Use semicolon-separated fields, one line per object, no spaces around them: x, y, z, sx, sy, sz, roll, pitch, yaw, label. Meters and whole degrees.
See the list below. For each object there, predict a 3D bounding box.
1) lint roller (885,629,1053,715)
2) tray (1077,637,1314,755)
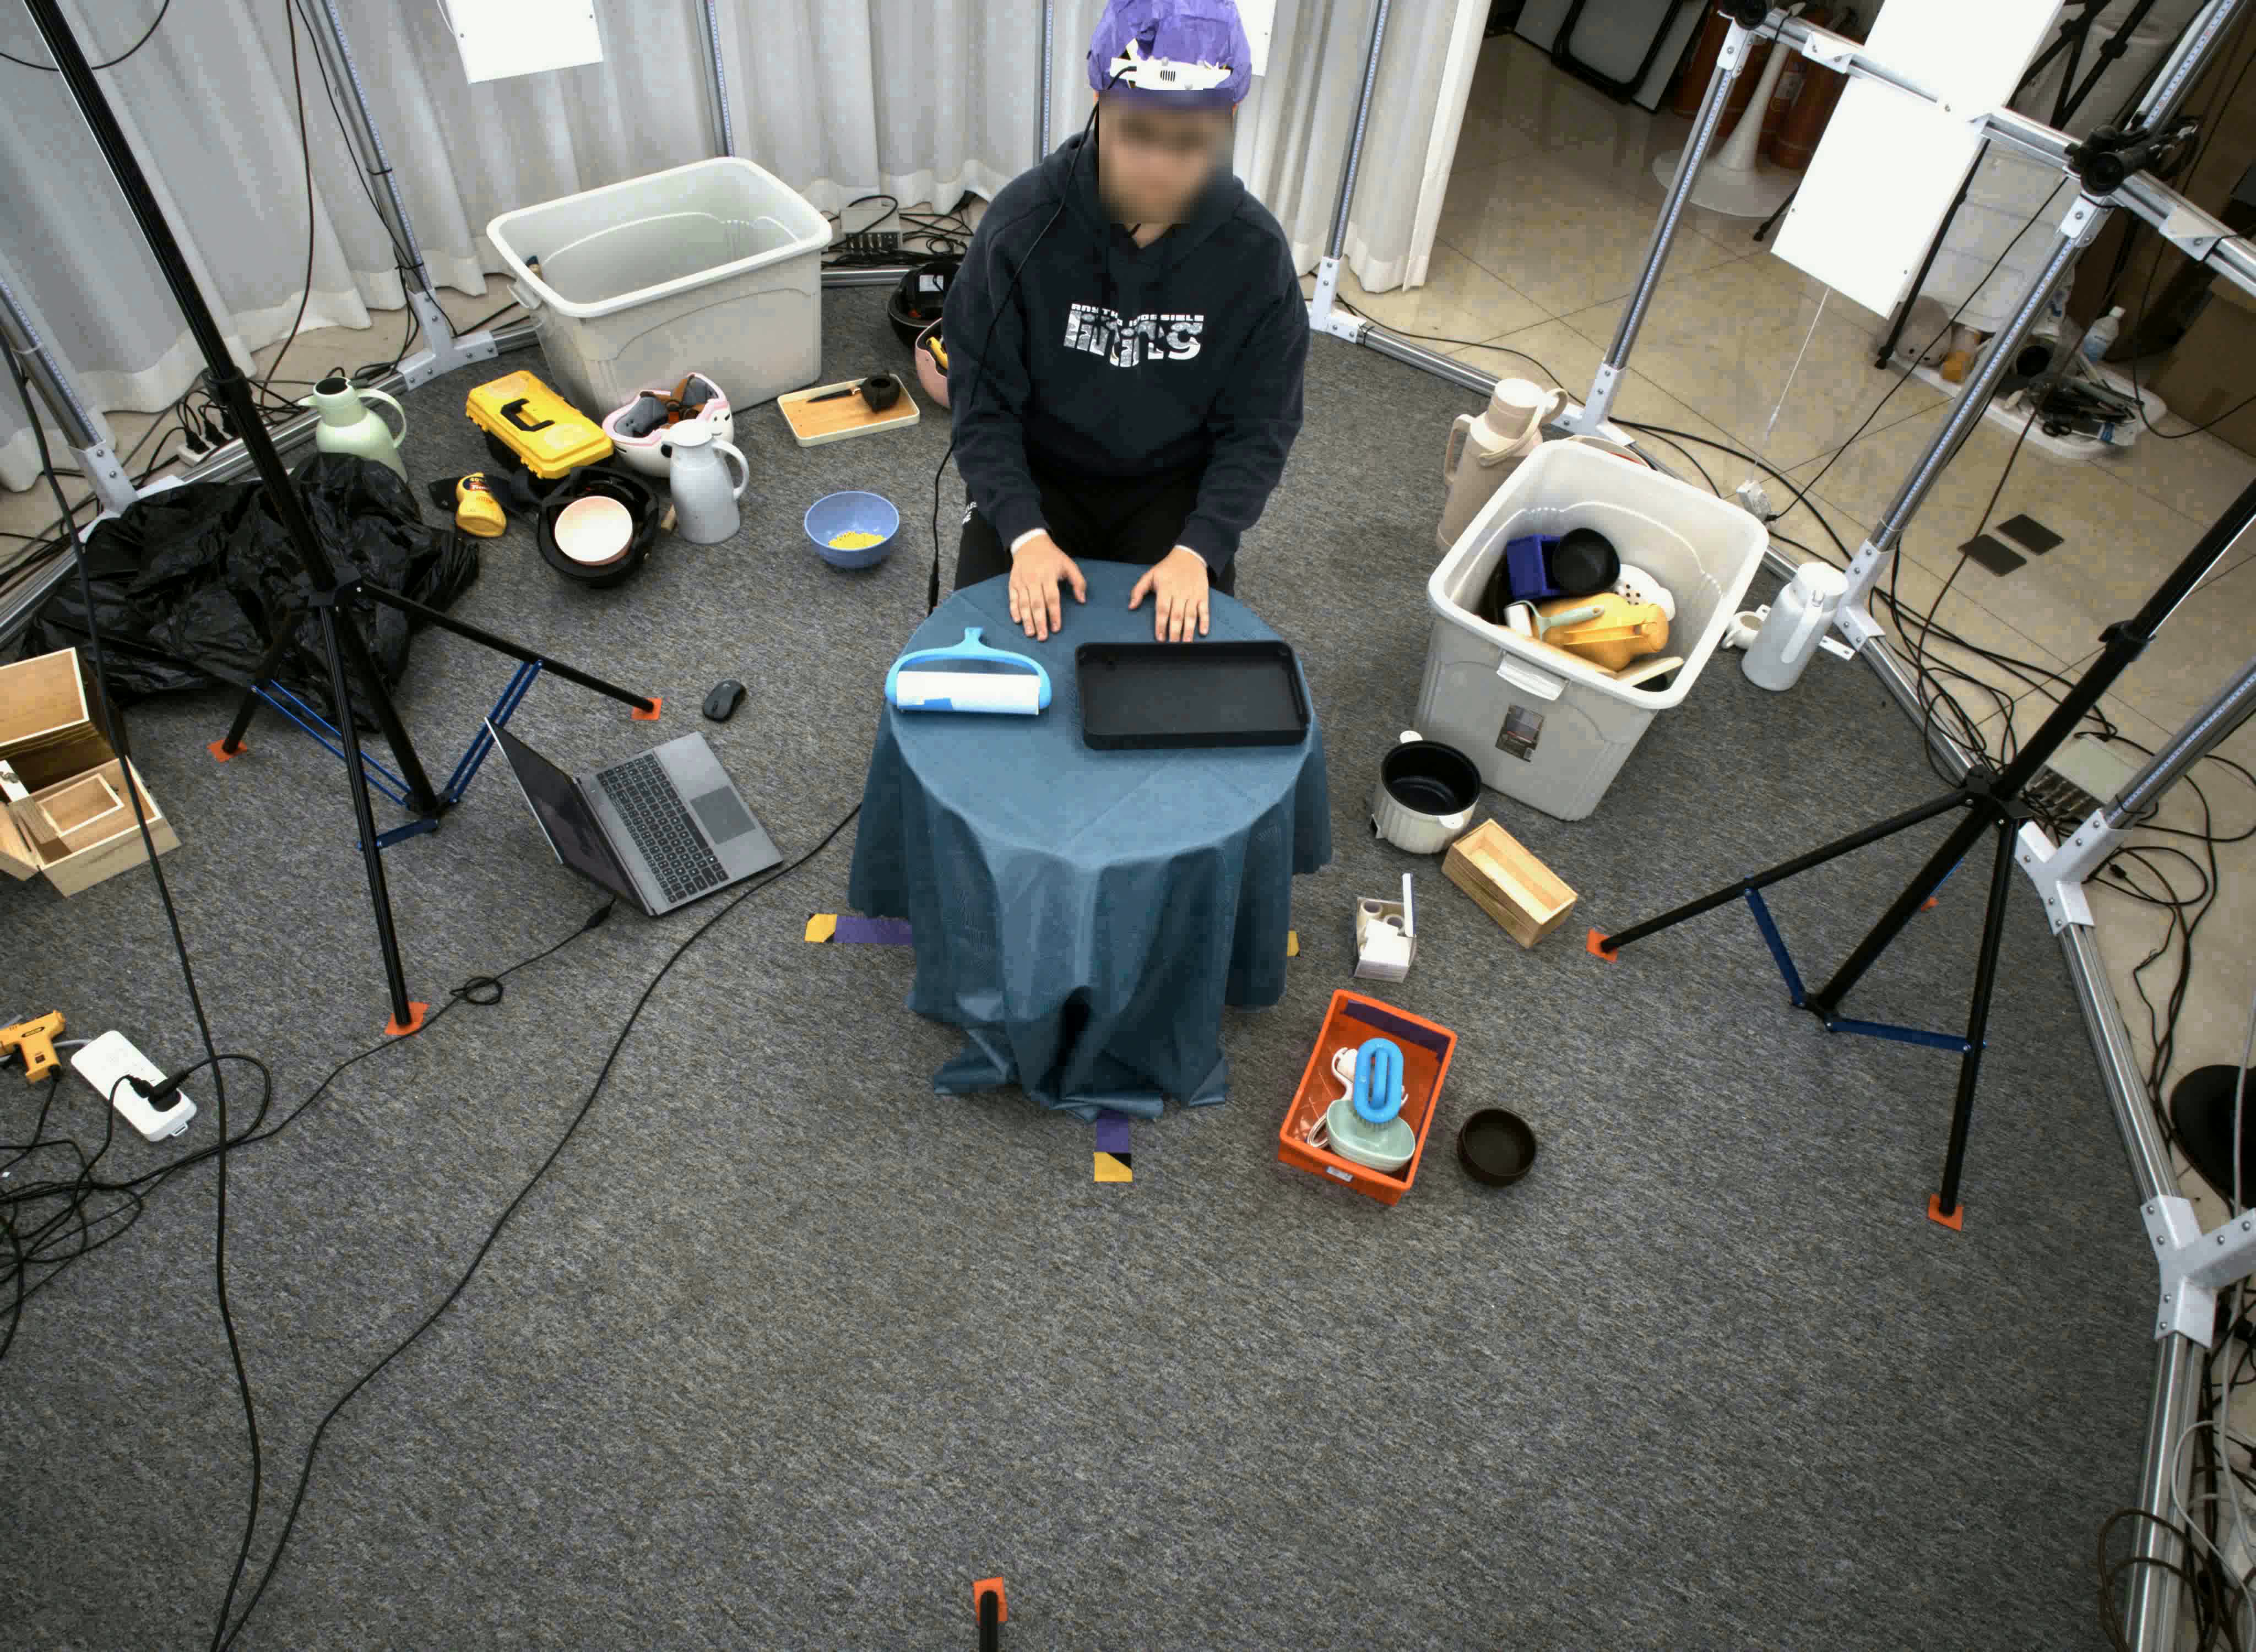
-0.221;-0.231;1.810;0.228;0.066;0.185;-1;51;-3;lint roller
0.092;-0.186;1.815;0.317;0.036;0.189;-4;49;-5;tray
